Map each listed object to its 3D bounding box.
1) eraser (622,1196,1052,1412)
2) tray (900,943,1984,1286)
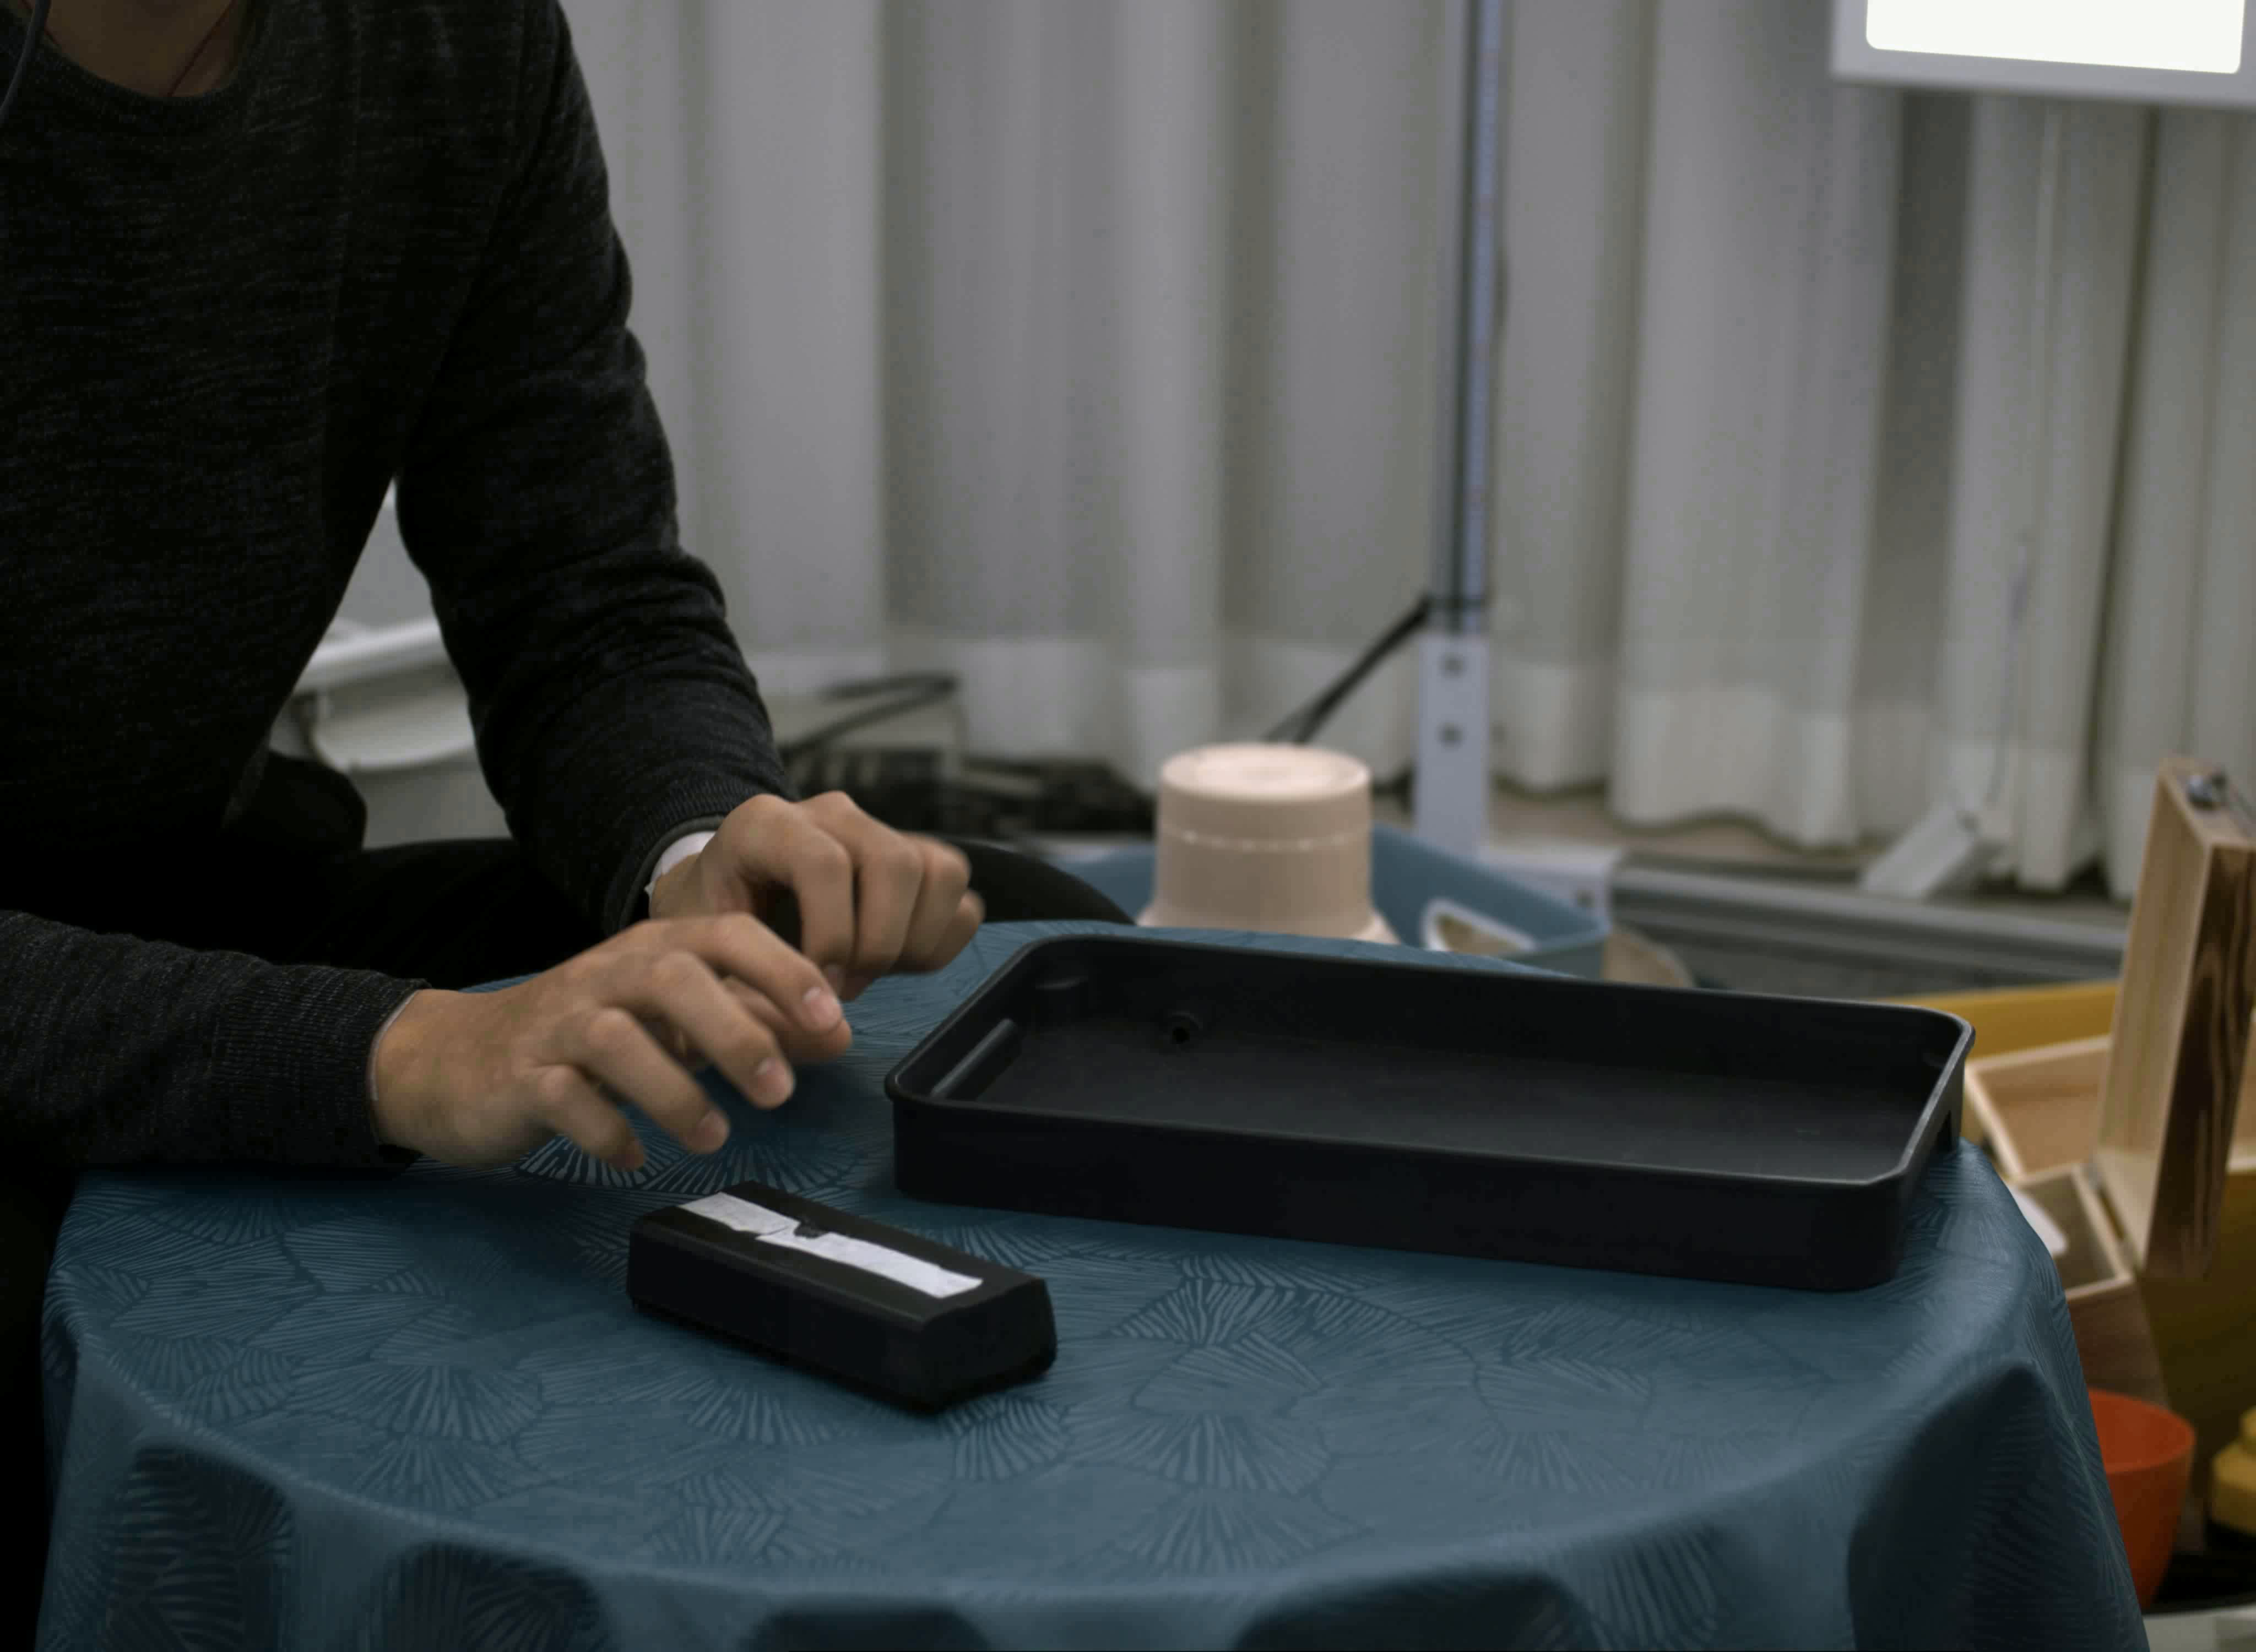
[{"bbox_3d":[-0.083,0.134,1.488,0.124,0.030,0.054,13,17,41],"label":"eraser"},{"bbox_3d":[0.101,0.087,1.650,0.315,0.037,0.184,4,16,14],"label":"tray"}]
